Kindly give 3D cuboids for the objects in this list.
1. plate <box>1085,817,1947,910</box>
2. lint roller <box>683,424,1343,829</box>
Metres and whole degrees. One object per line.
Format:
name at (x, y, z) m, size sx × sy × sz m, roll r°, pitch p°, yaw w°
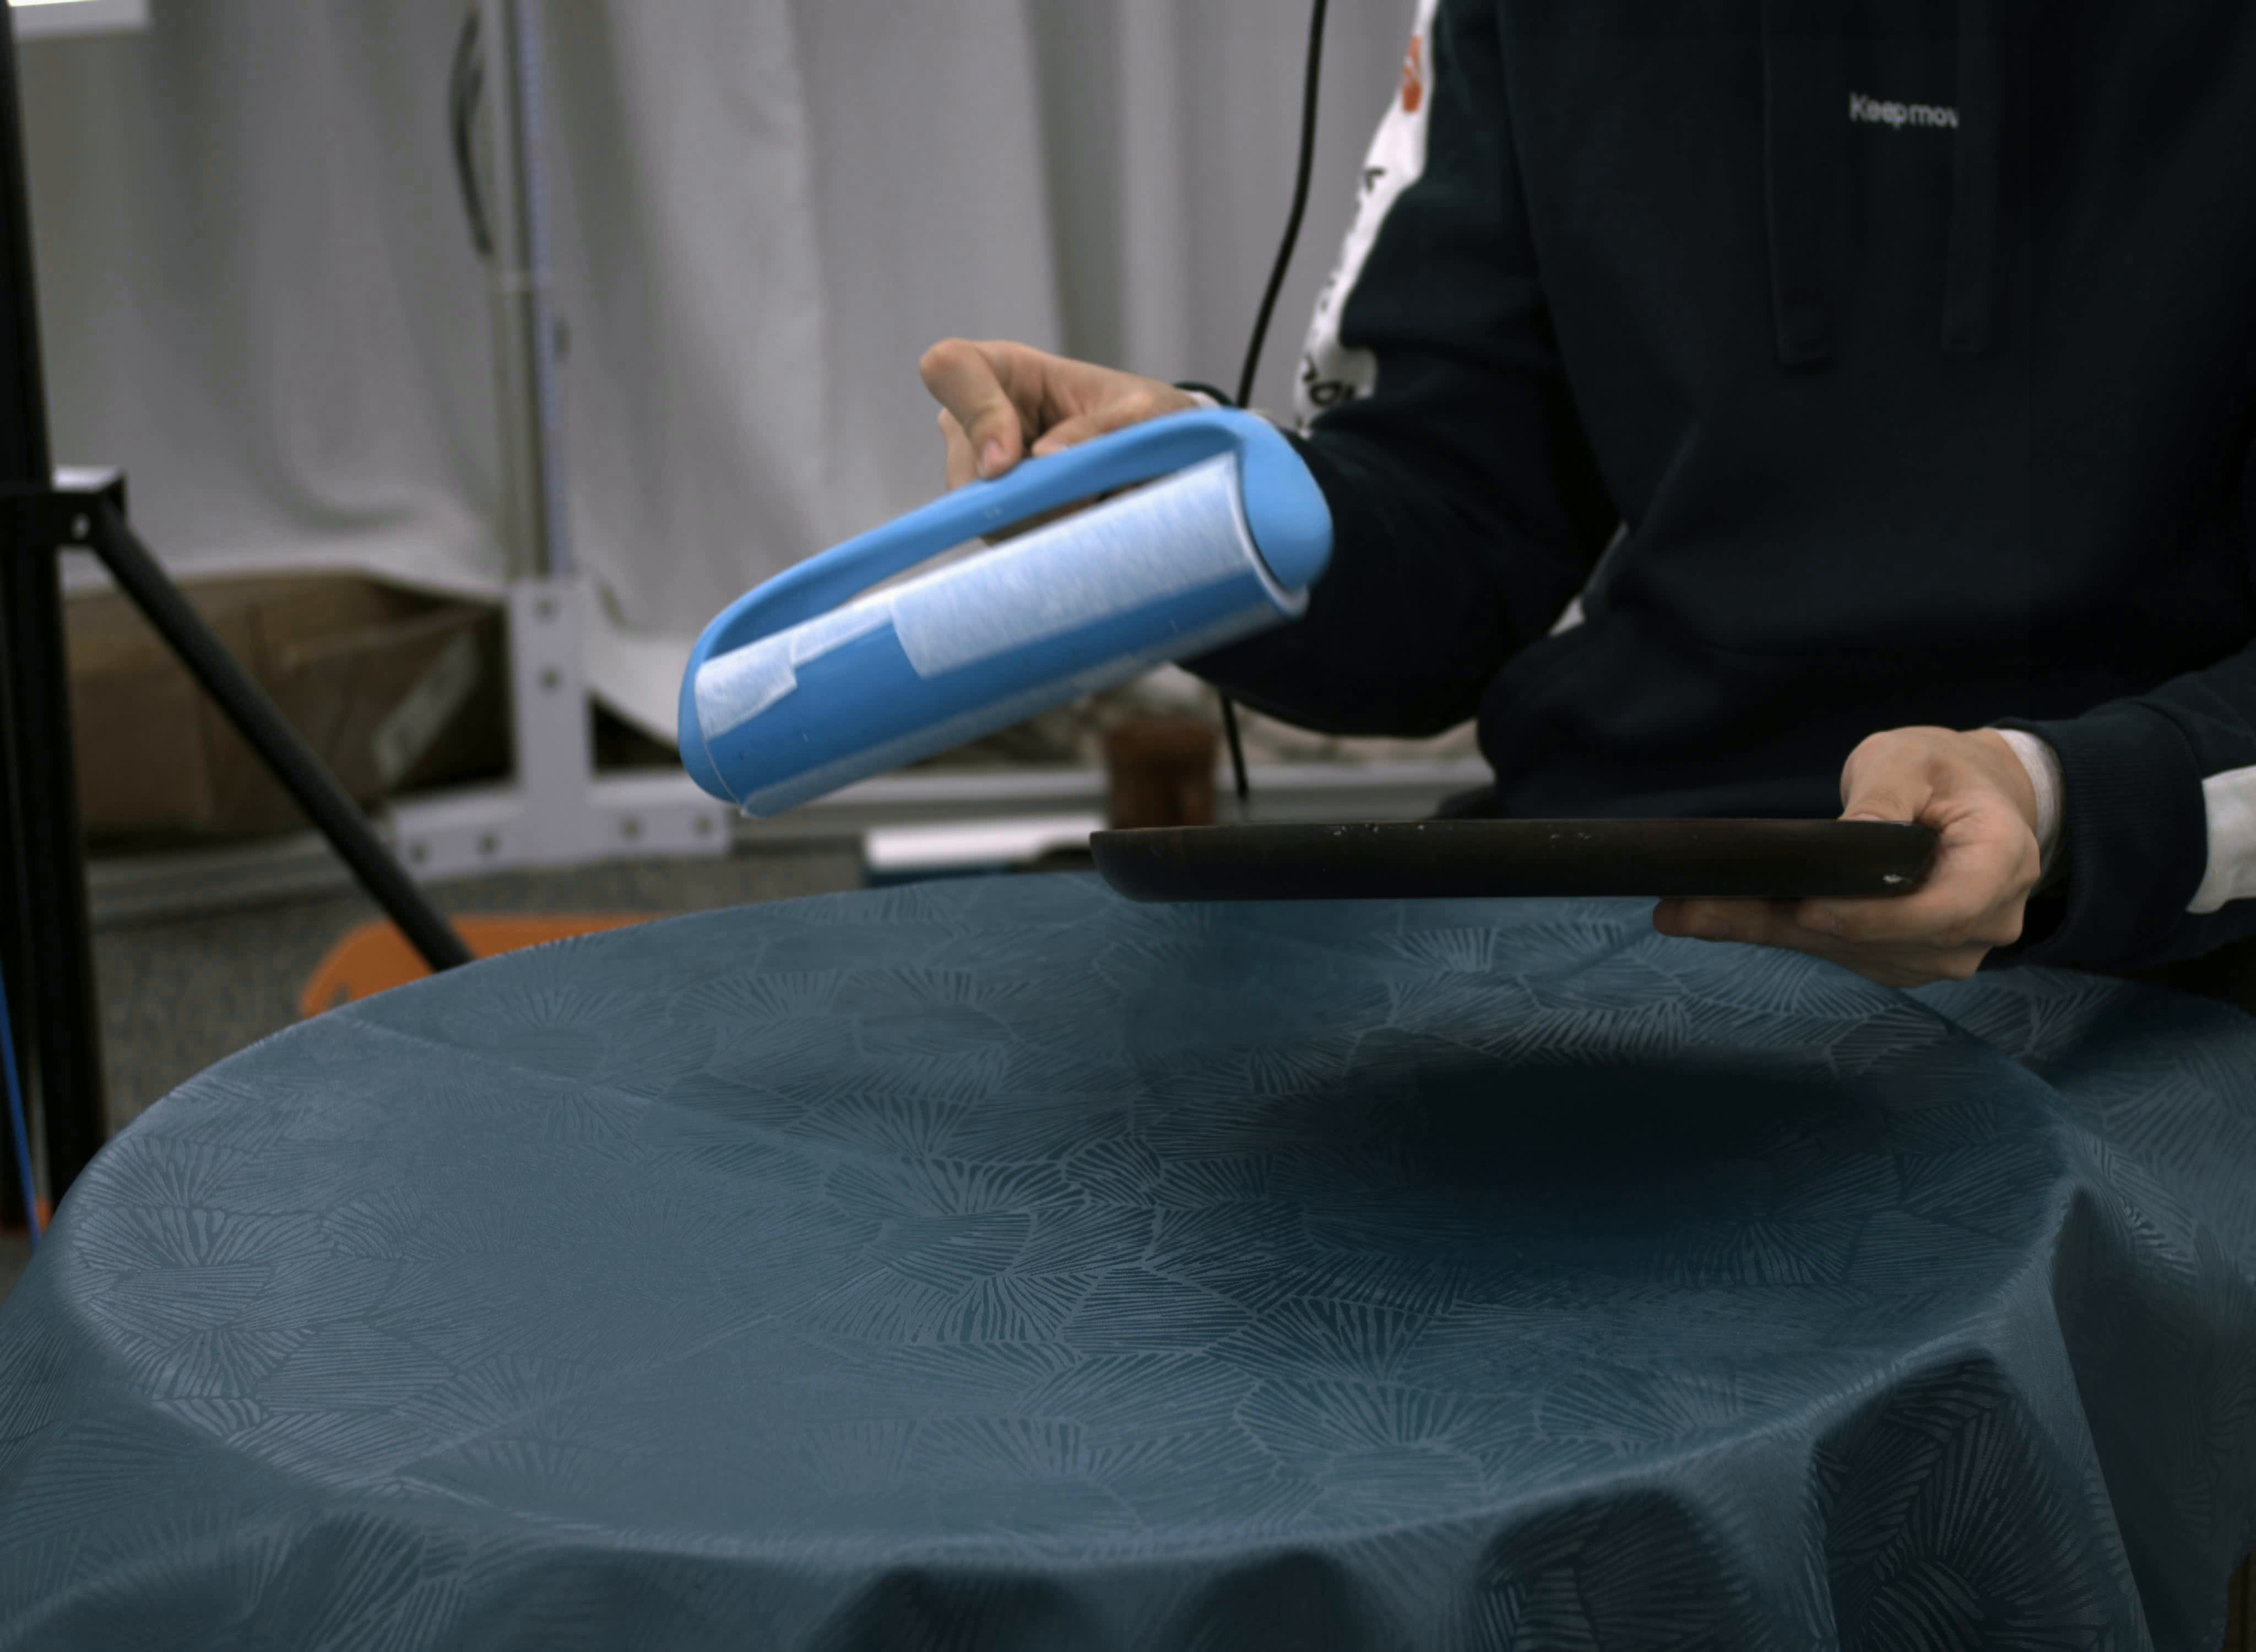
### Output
plate at (0.113, 0.012, 1.559) m, size 0.253 × 0.029 × 0.255 m, roll 0°, pitch 0°, yaw -1°
lint roller at (-0.030, -0.081, 1.716) m, size 0.231 × 0.067 × 0.180 m, roll -22°, pitch 20°, yaw 19°
